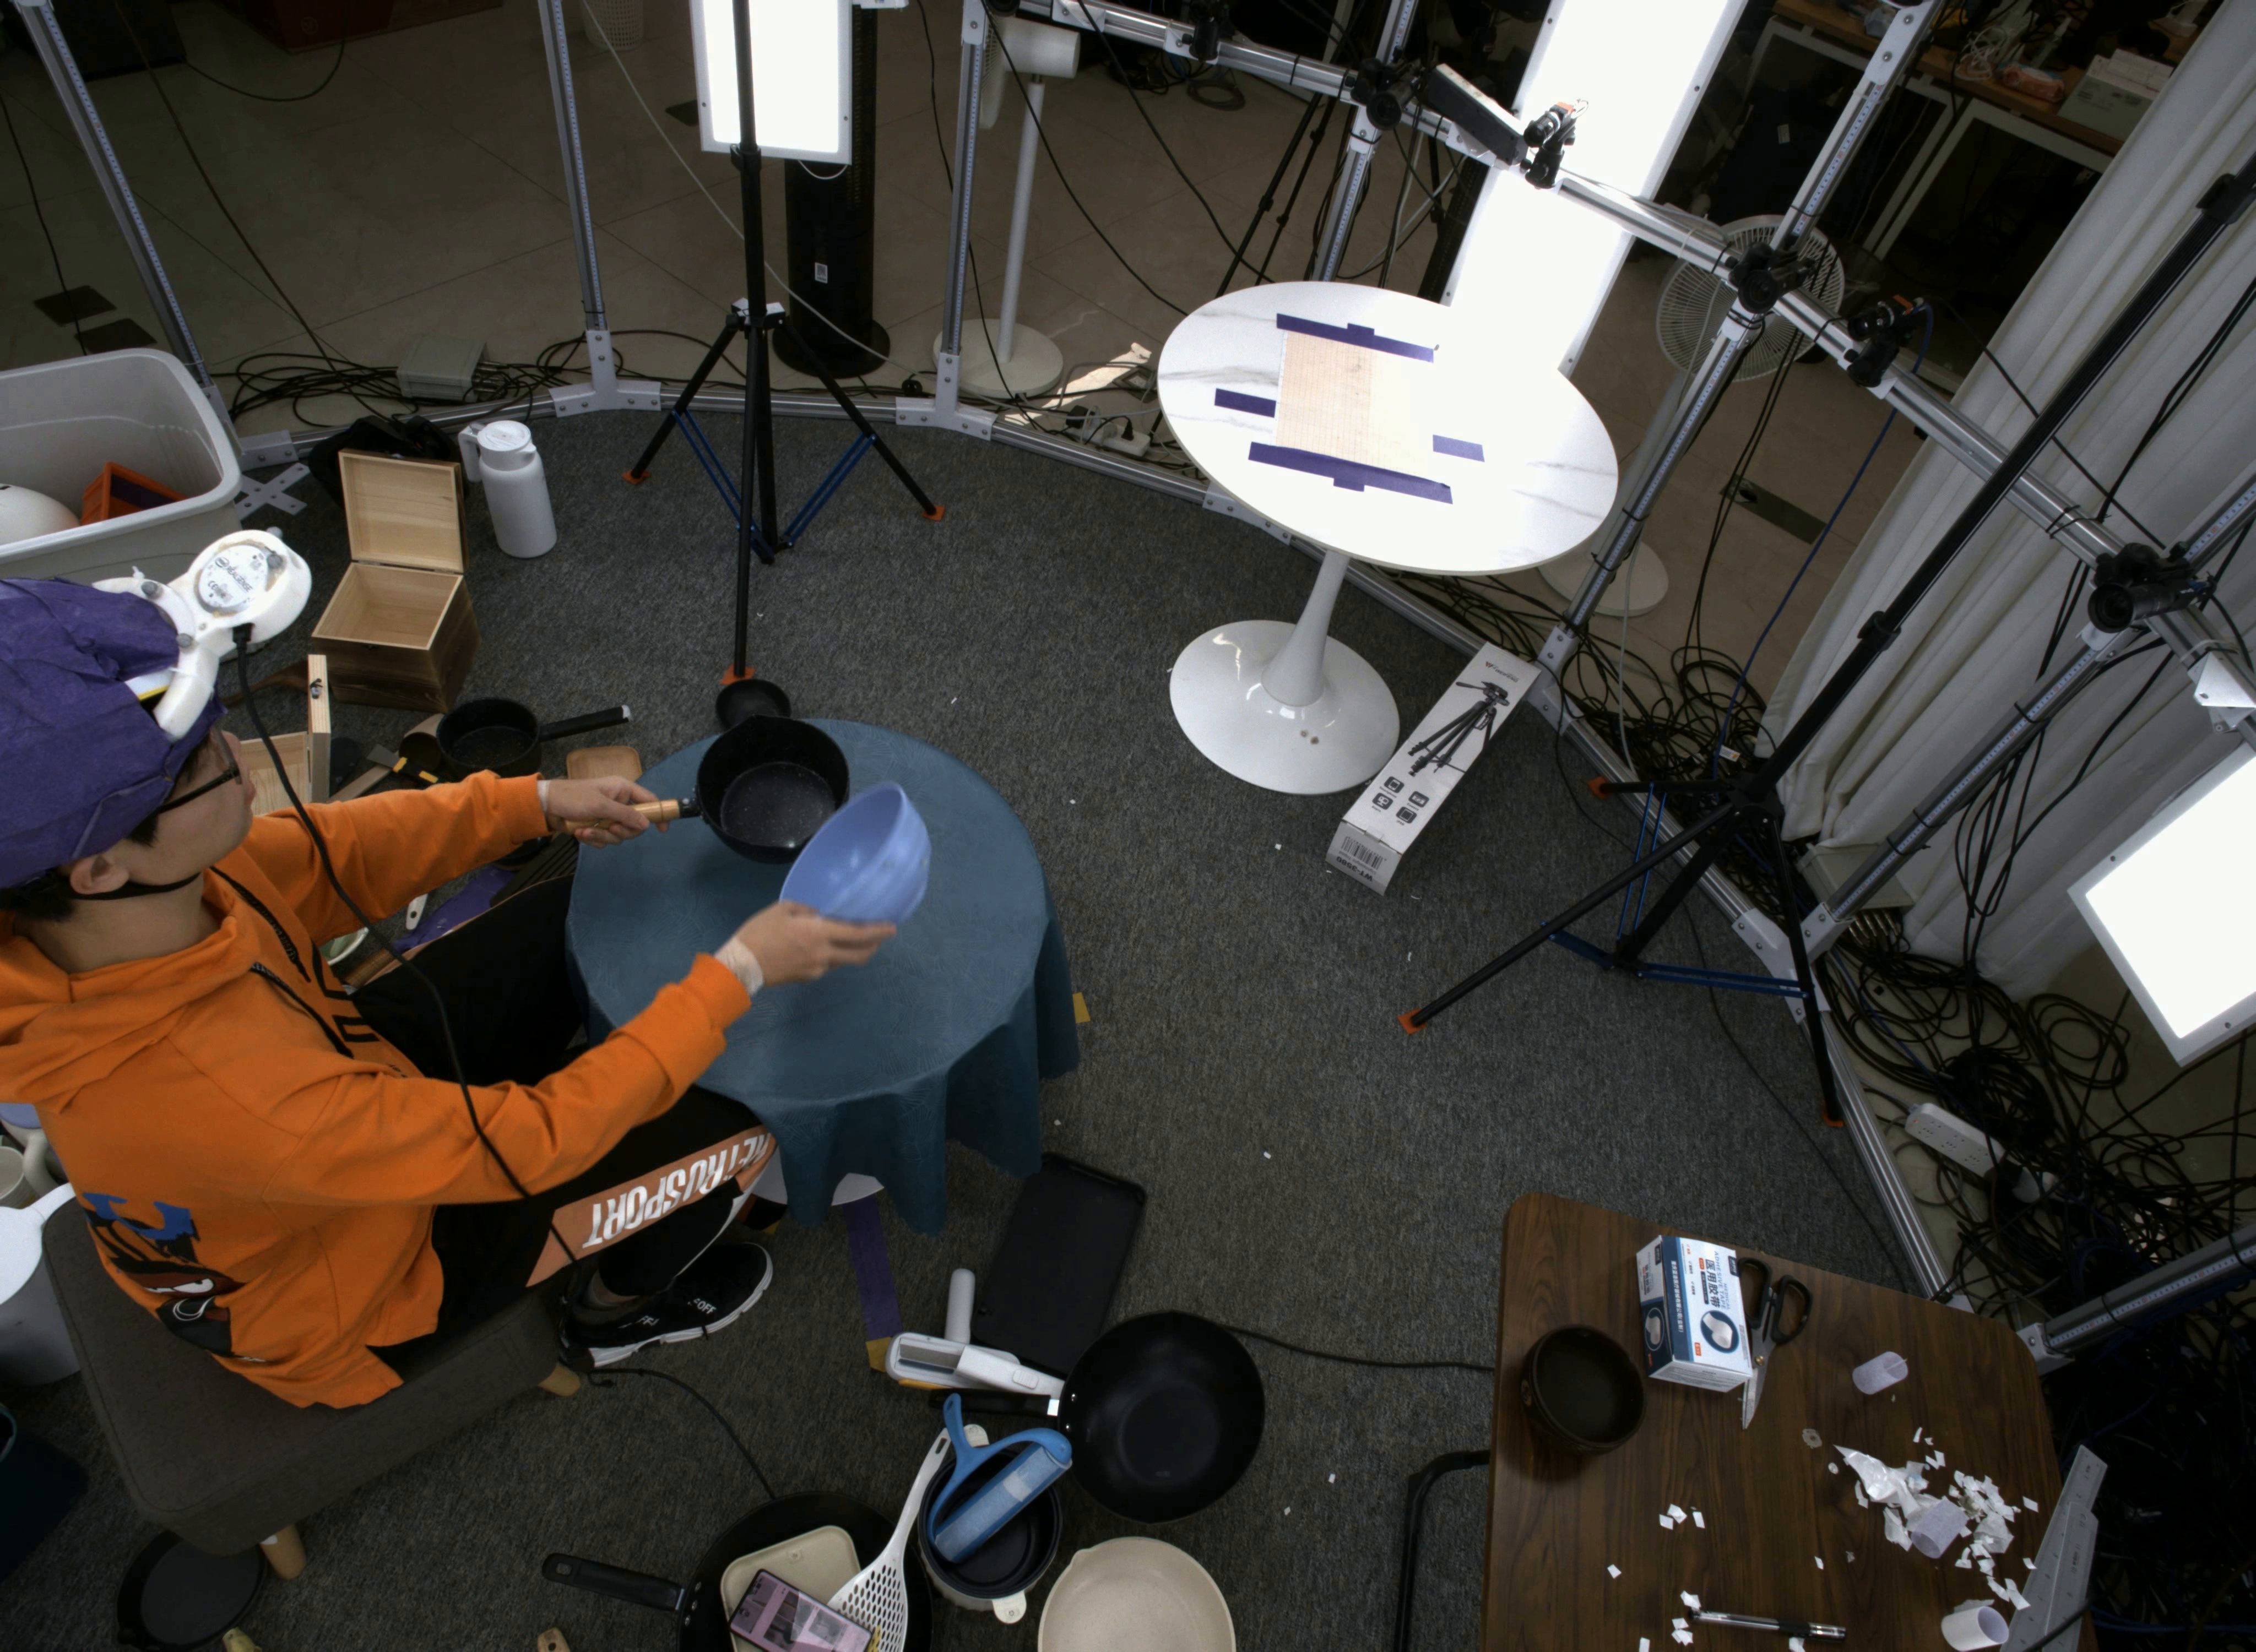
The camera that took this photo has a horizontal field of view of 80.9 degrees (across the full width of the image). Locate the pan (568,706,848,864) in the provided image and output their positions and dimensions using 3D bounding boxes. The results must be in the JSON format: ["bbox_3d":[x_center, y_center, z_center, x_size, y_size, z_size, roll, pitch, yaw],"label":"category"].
[{"bbox_3d":[-0.509,-0.025,1.569,0.344,0.109,0.204,-16,68,-21],"label":"pan"}]

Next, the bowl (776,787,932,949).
[{"bbox_3d":[-0.291,0.062,1.457,0.099,0.193,0.192,48,28,-33],"label":"bowl"}]
